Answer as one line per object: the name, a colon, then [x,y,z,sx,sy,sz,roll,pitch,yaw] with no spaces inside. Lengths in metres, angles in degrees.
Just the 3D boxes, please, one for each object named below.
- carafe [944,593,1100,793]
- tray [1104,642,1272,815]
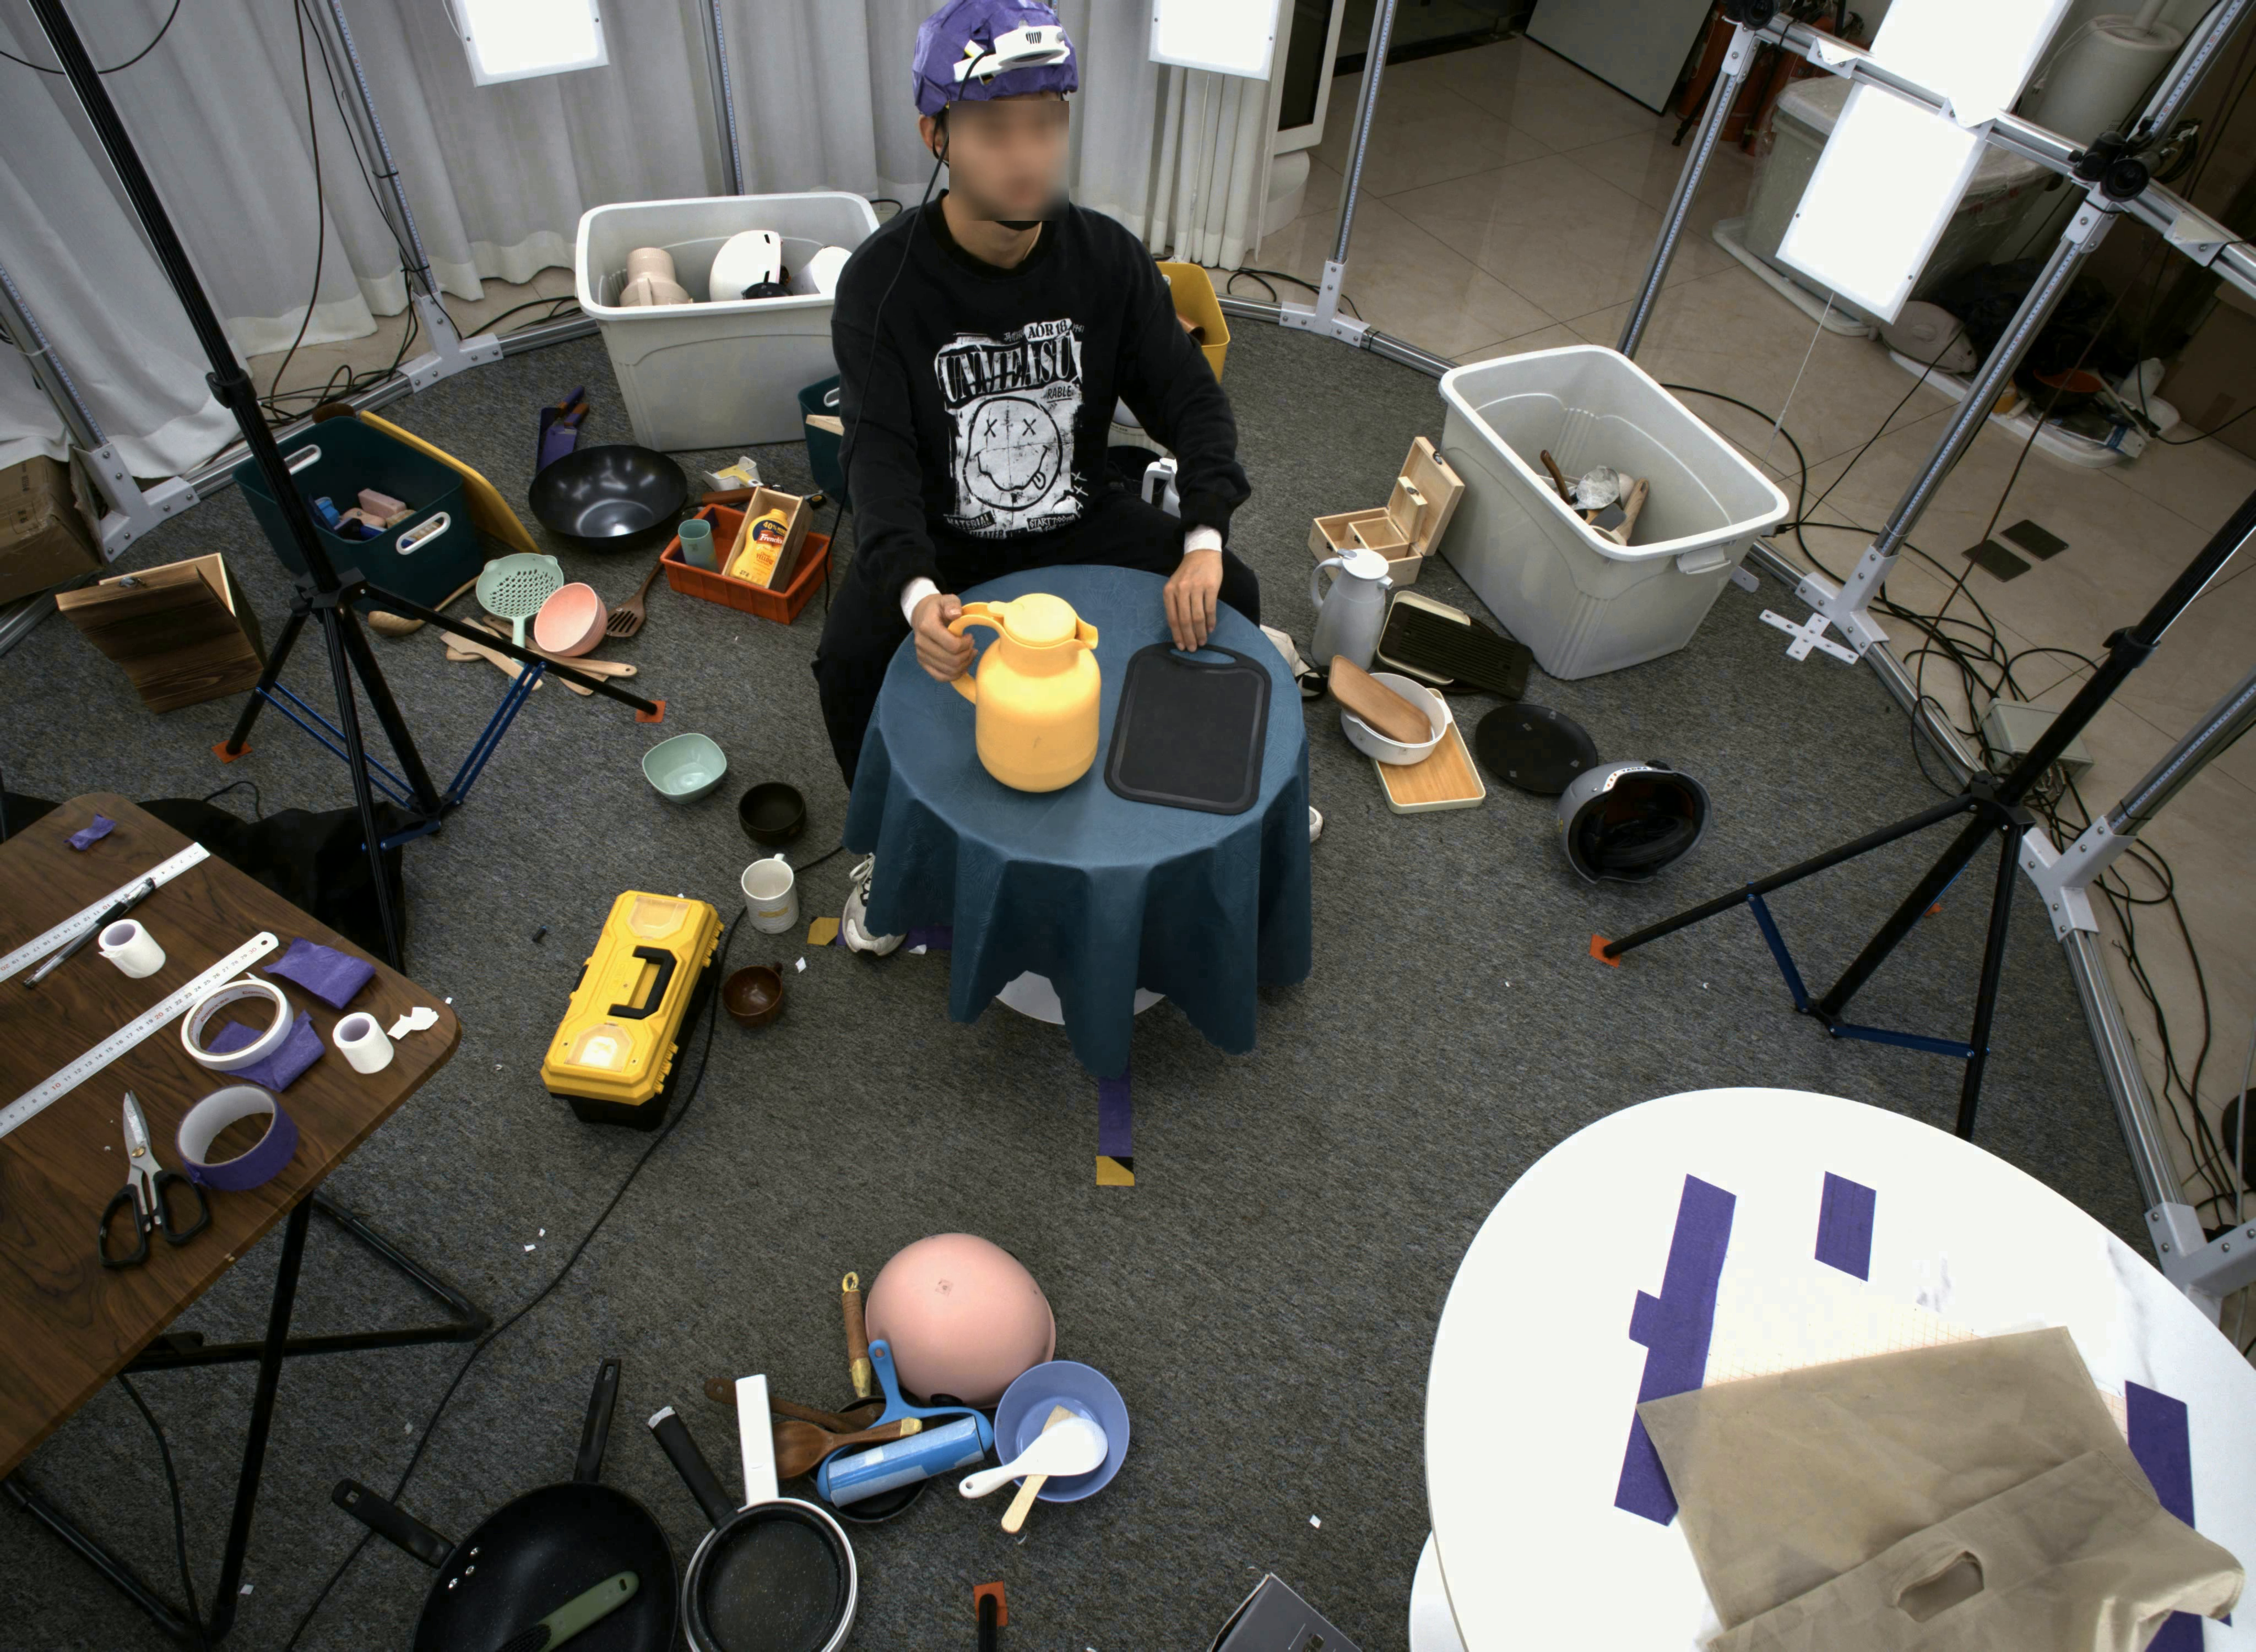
carafe: [-0.136,-0.181,1.648,0.203,0.254,0.167,17,47,8]
tray: [0.090,-0.149,1.799,0.211,0.009,0.333,9,49,4]
